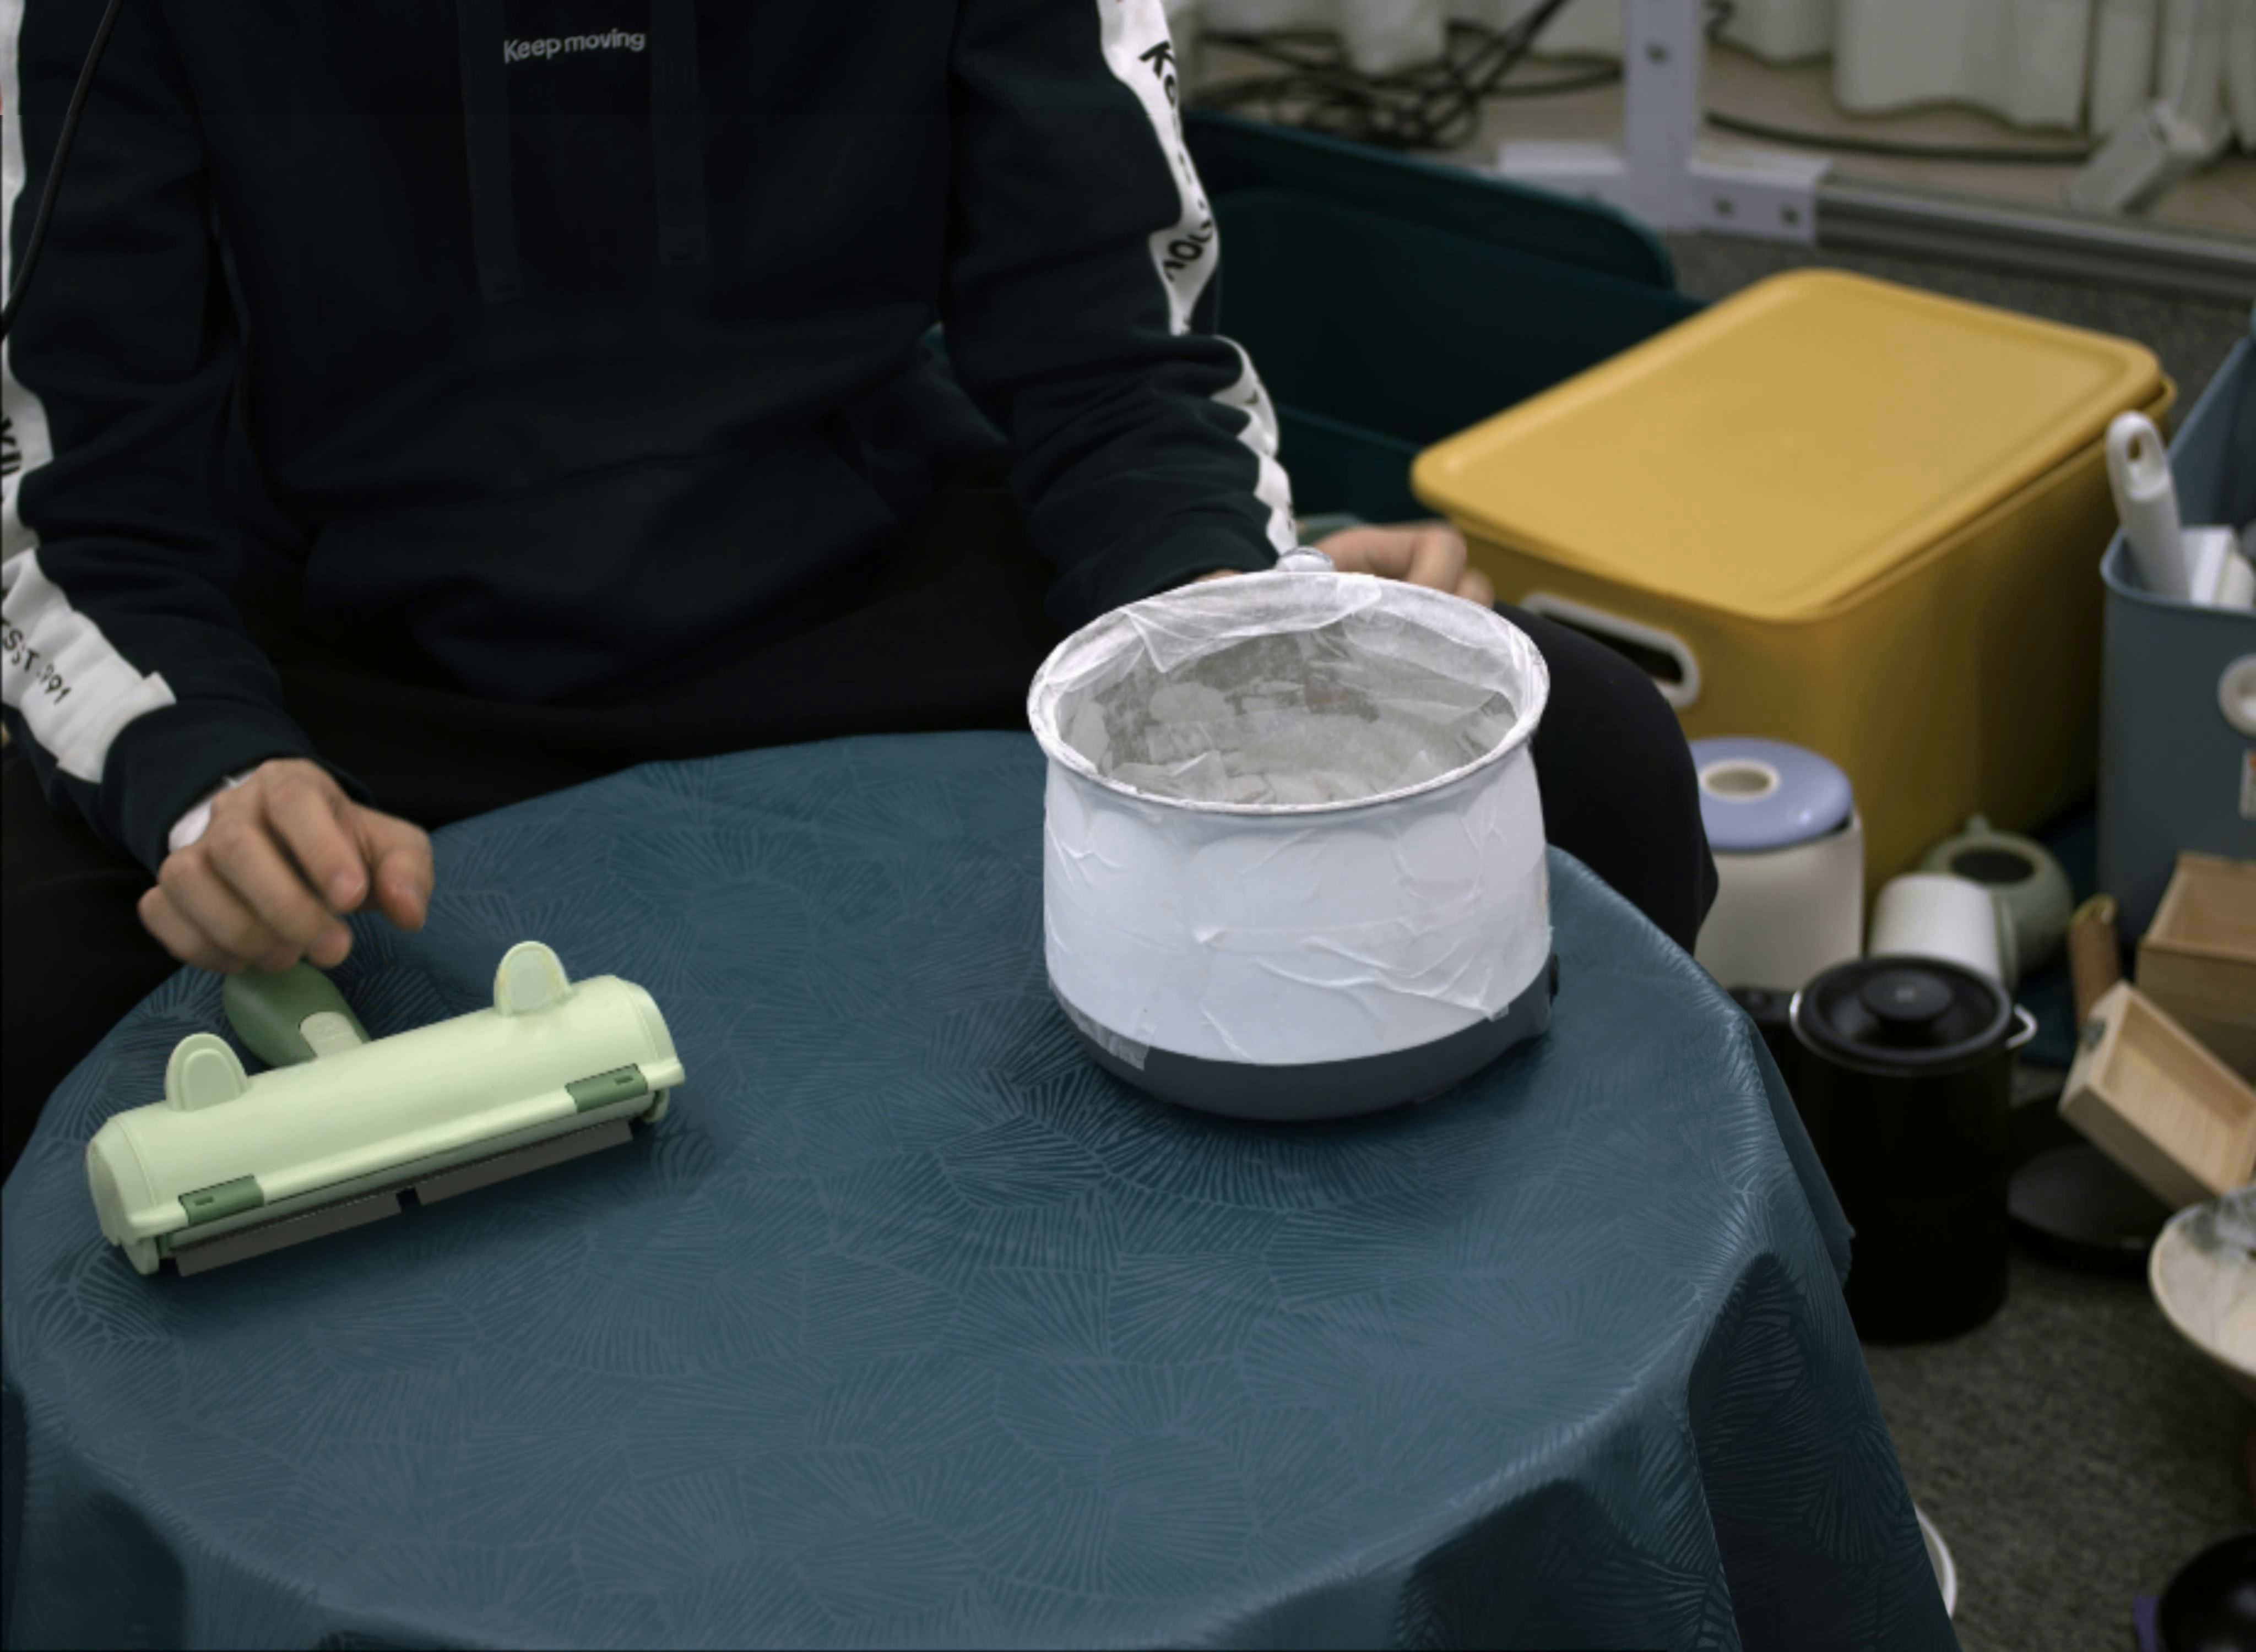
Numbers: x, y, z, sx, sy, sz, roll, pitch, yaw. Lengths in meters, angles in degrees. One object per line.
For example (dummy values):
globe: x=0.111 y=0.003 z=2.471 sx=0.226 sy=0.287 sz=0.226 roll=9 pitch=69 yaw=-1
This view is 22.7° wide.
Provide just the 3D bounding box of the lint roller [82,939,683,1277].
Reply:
lint roller: x=-0.273 y=0.067 z=1.910 sx=0.199 sy=0.081 sz=0.185 roll=-16 pitch=35 yaw=-23

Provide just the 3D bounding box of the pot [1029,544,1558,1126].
pot: x=0.059 y=-0.004 z=1.948 sx=0.178 sy=0.135 sz=0.237 roll=0 pitch=28 yaw=4
